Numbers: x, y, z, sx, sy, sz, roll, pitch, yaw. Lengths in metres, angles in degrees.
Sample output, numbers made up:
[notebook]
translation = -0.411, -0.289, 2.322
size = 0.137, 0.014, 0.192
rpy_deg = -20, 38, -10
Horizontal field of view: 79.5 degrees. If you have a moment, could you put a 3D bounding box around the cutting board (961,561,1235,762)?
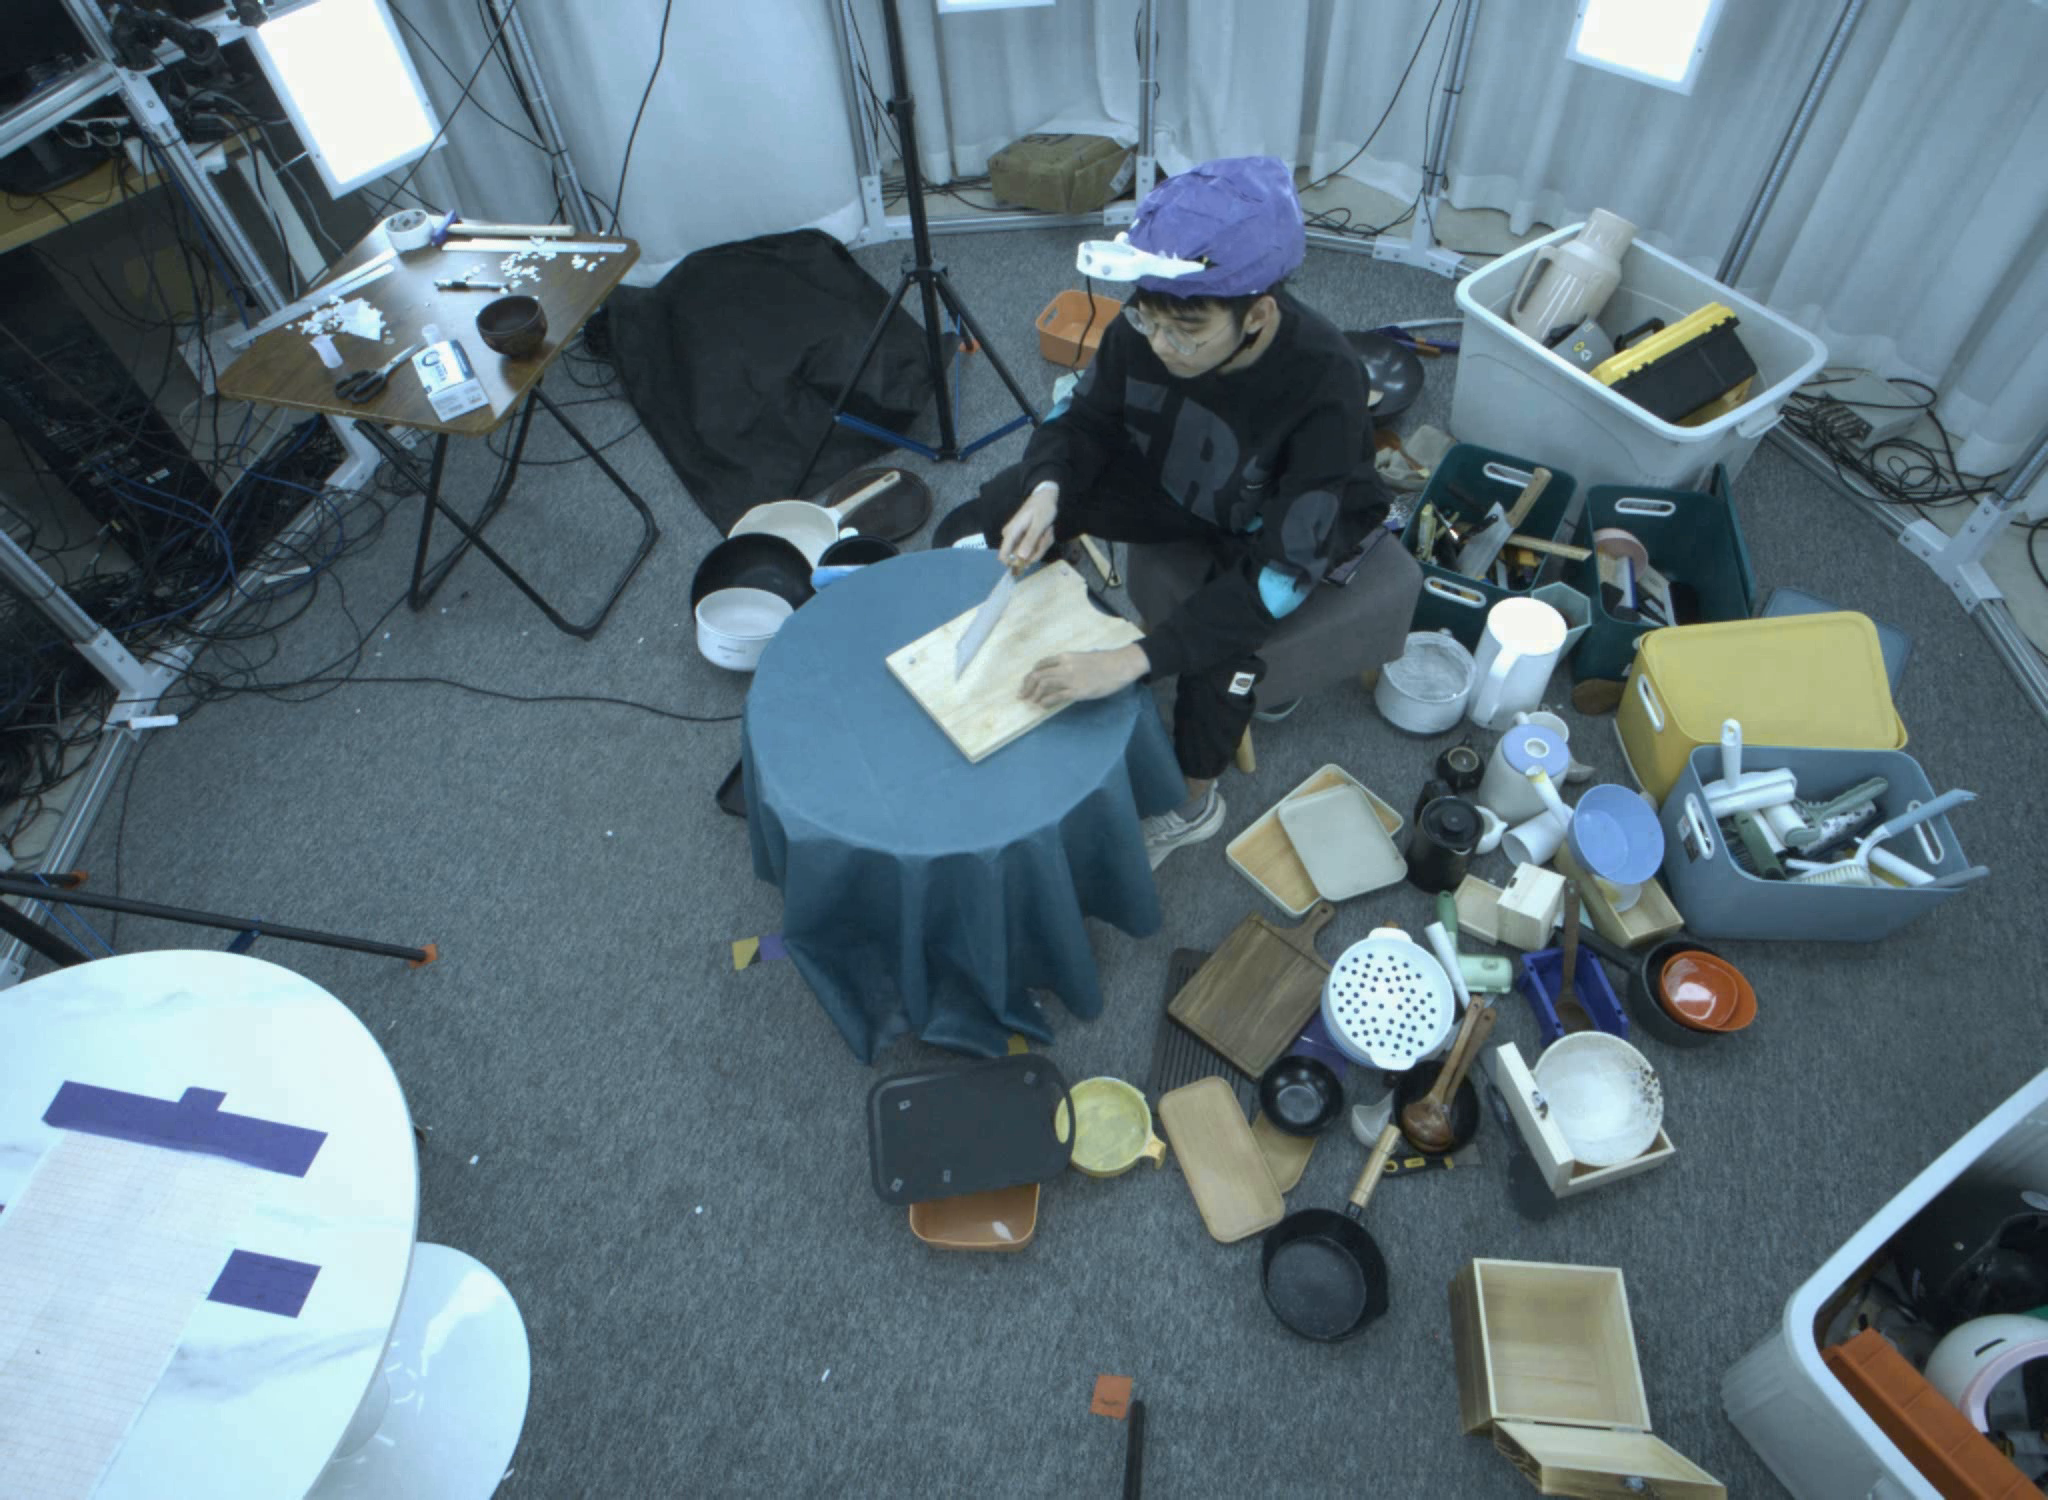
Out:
[cutting board]
translation = 0.109, -0.143, 1.873
size = 0.351, 0.024, 0.246
rpy_deg = -29, 58, -17

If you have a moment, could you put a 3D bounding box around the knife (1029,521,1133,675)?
[knife]
translation = 0.084, -0.225, 1.830
size = 0.021, 0.093, 0.307
rpy_deg = 26, 56, 15
